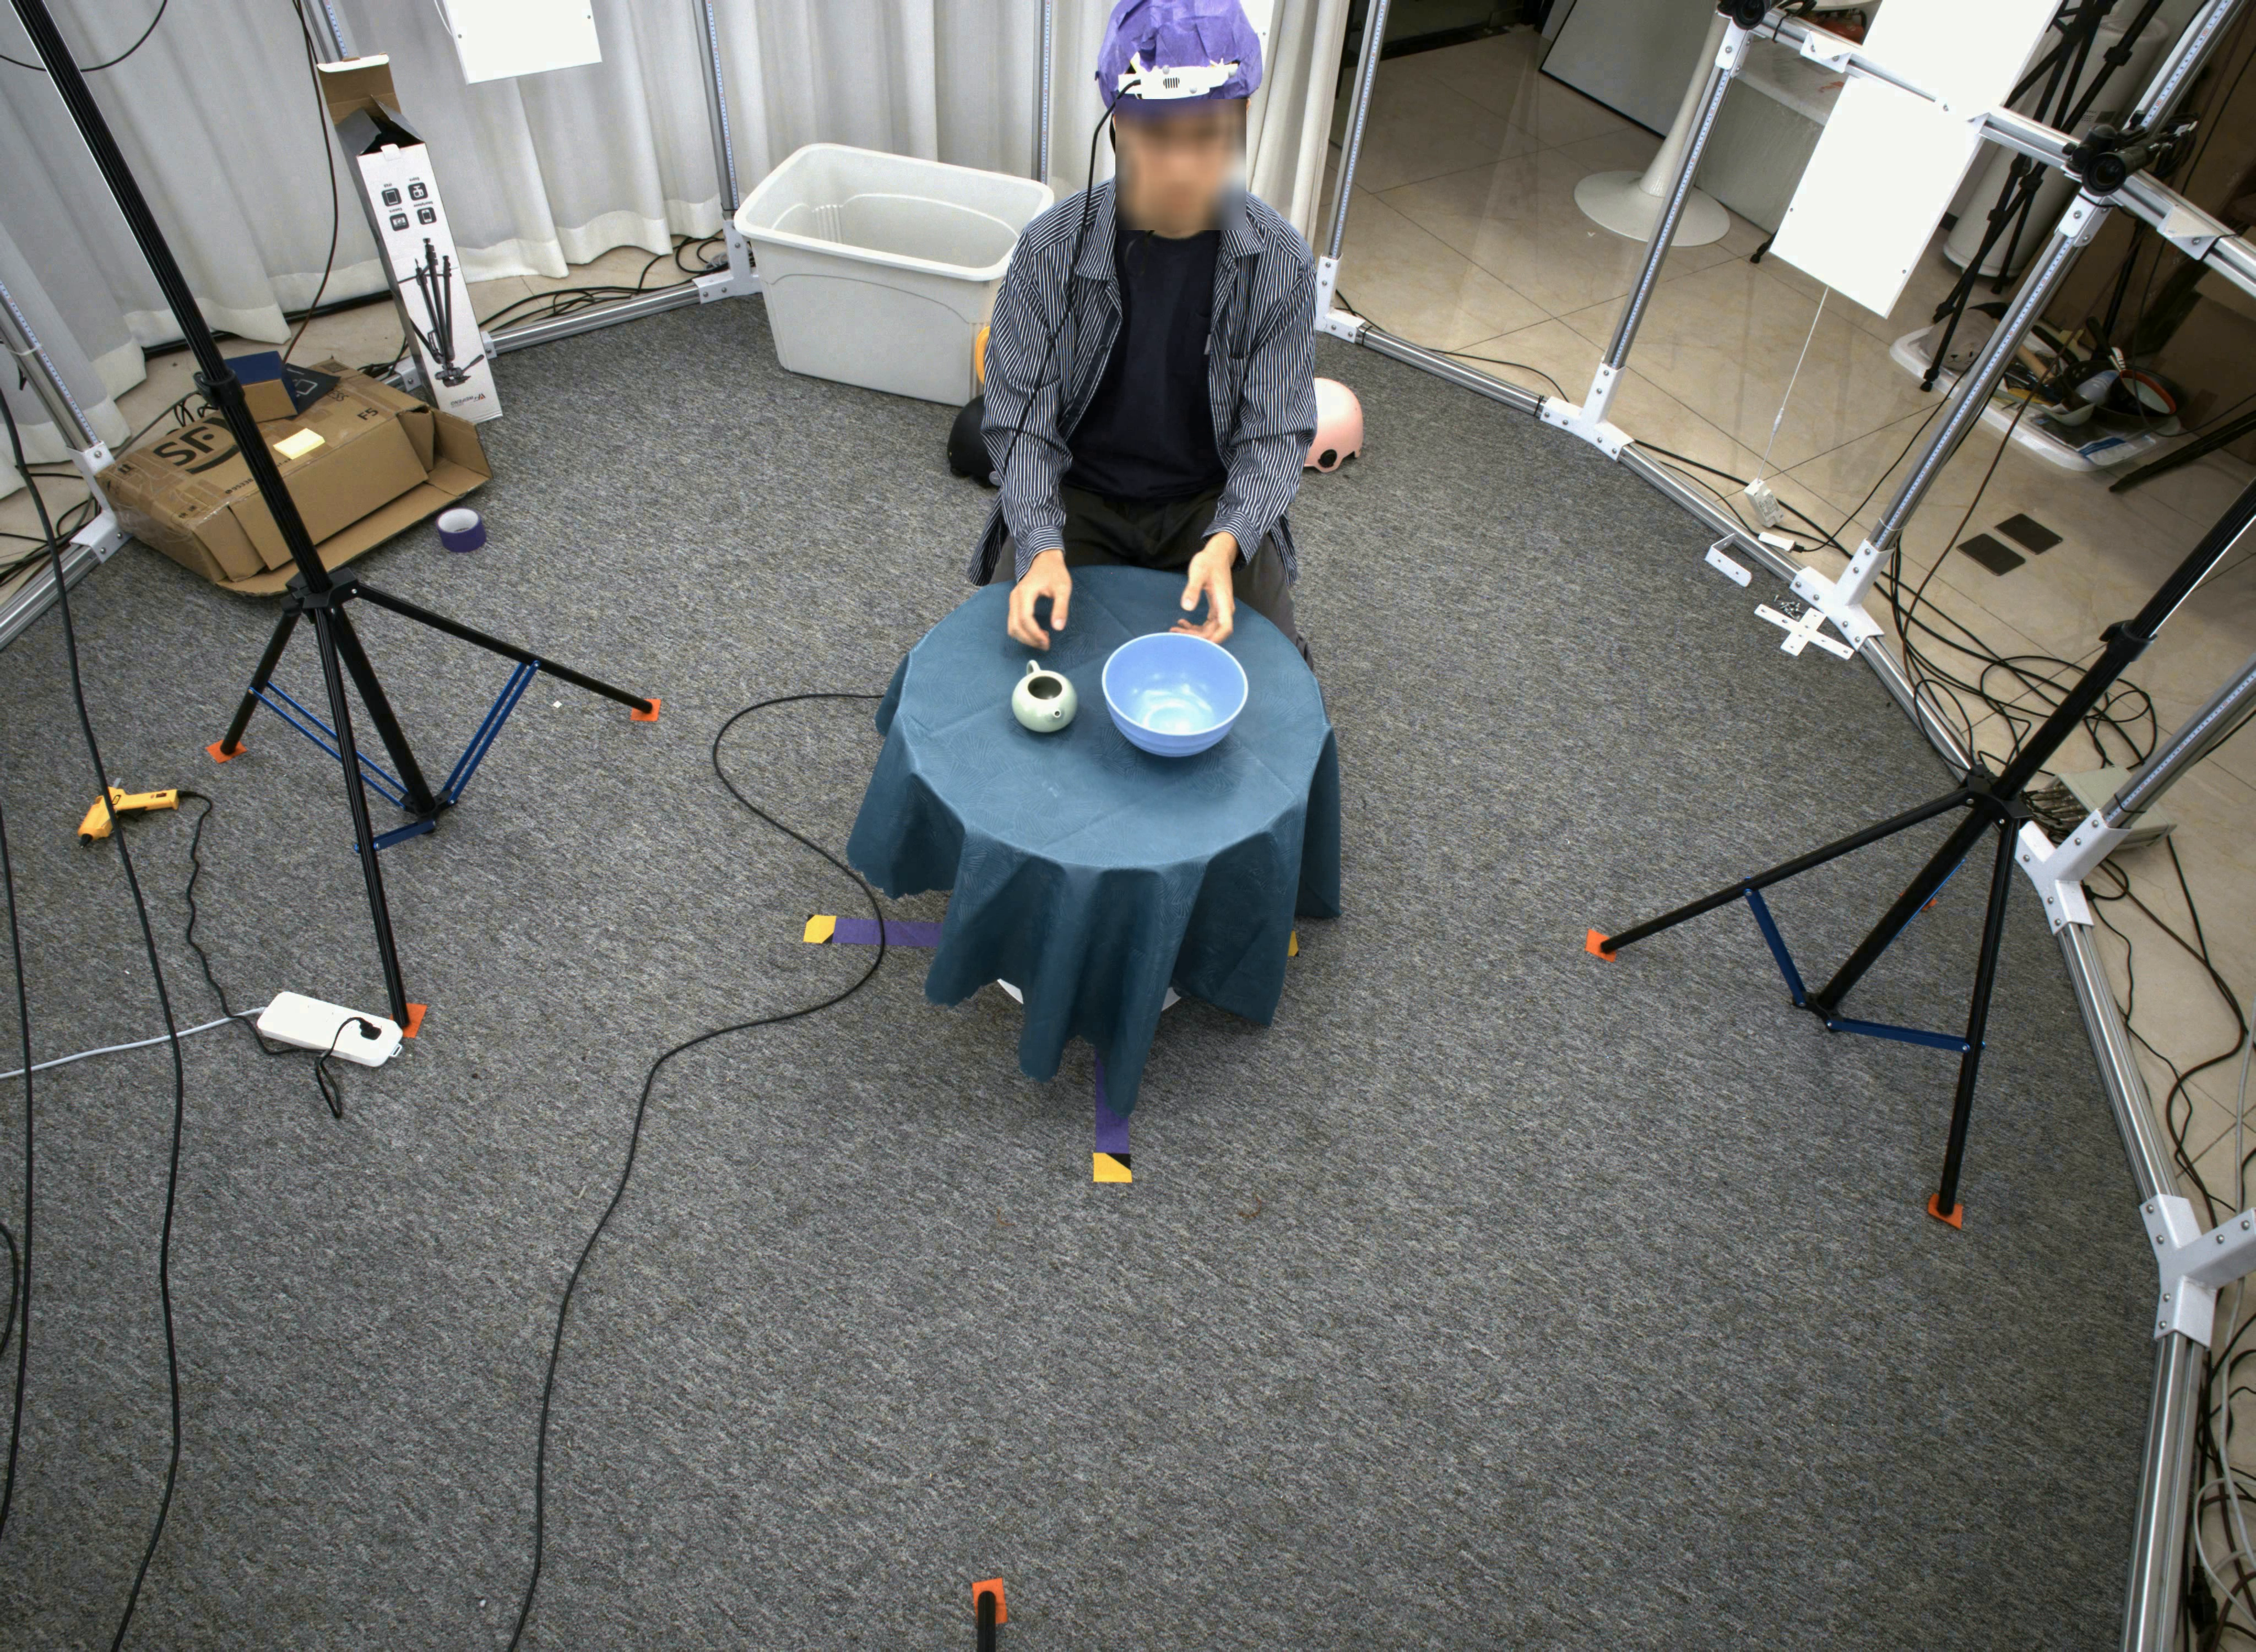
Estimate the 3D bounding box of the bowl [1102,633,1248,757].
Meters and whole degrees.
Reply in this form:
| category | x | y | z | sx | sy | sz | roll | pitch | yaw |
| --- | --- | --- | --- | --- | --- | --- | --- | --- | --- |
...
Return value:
| category | x | y | z | sx | sy | sz | roll | pitch | yaw |
| --- | --- | --- | --- | --- | --- | --- | --- | --- | --- |
| bowl | 0.060 | -0.163 | 1.746 | 0.196 | 0.093 | 0.201 | 2 | 48 | -2 |

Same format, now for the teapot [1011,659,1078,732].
| category | x | y | z | sx | sy | sz | roll | pitch | yaw |
| --- | --- | --- | --- | --- | --- | --- | --- | --- | --- |
| teapot | -0.117 | -0.178 | 1.766 | 0.091 | 0.059 | 0.131 | -11 | 50 | -12 |
